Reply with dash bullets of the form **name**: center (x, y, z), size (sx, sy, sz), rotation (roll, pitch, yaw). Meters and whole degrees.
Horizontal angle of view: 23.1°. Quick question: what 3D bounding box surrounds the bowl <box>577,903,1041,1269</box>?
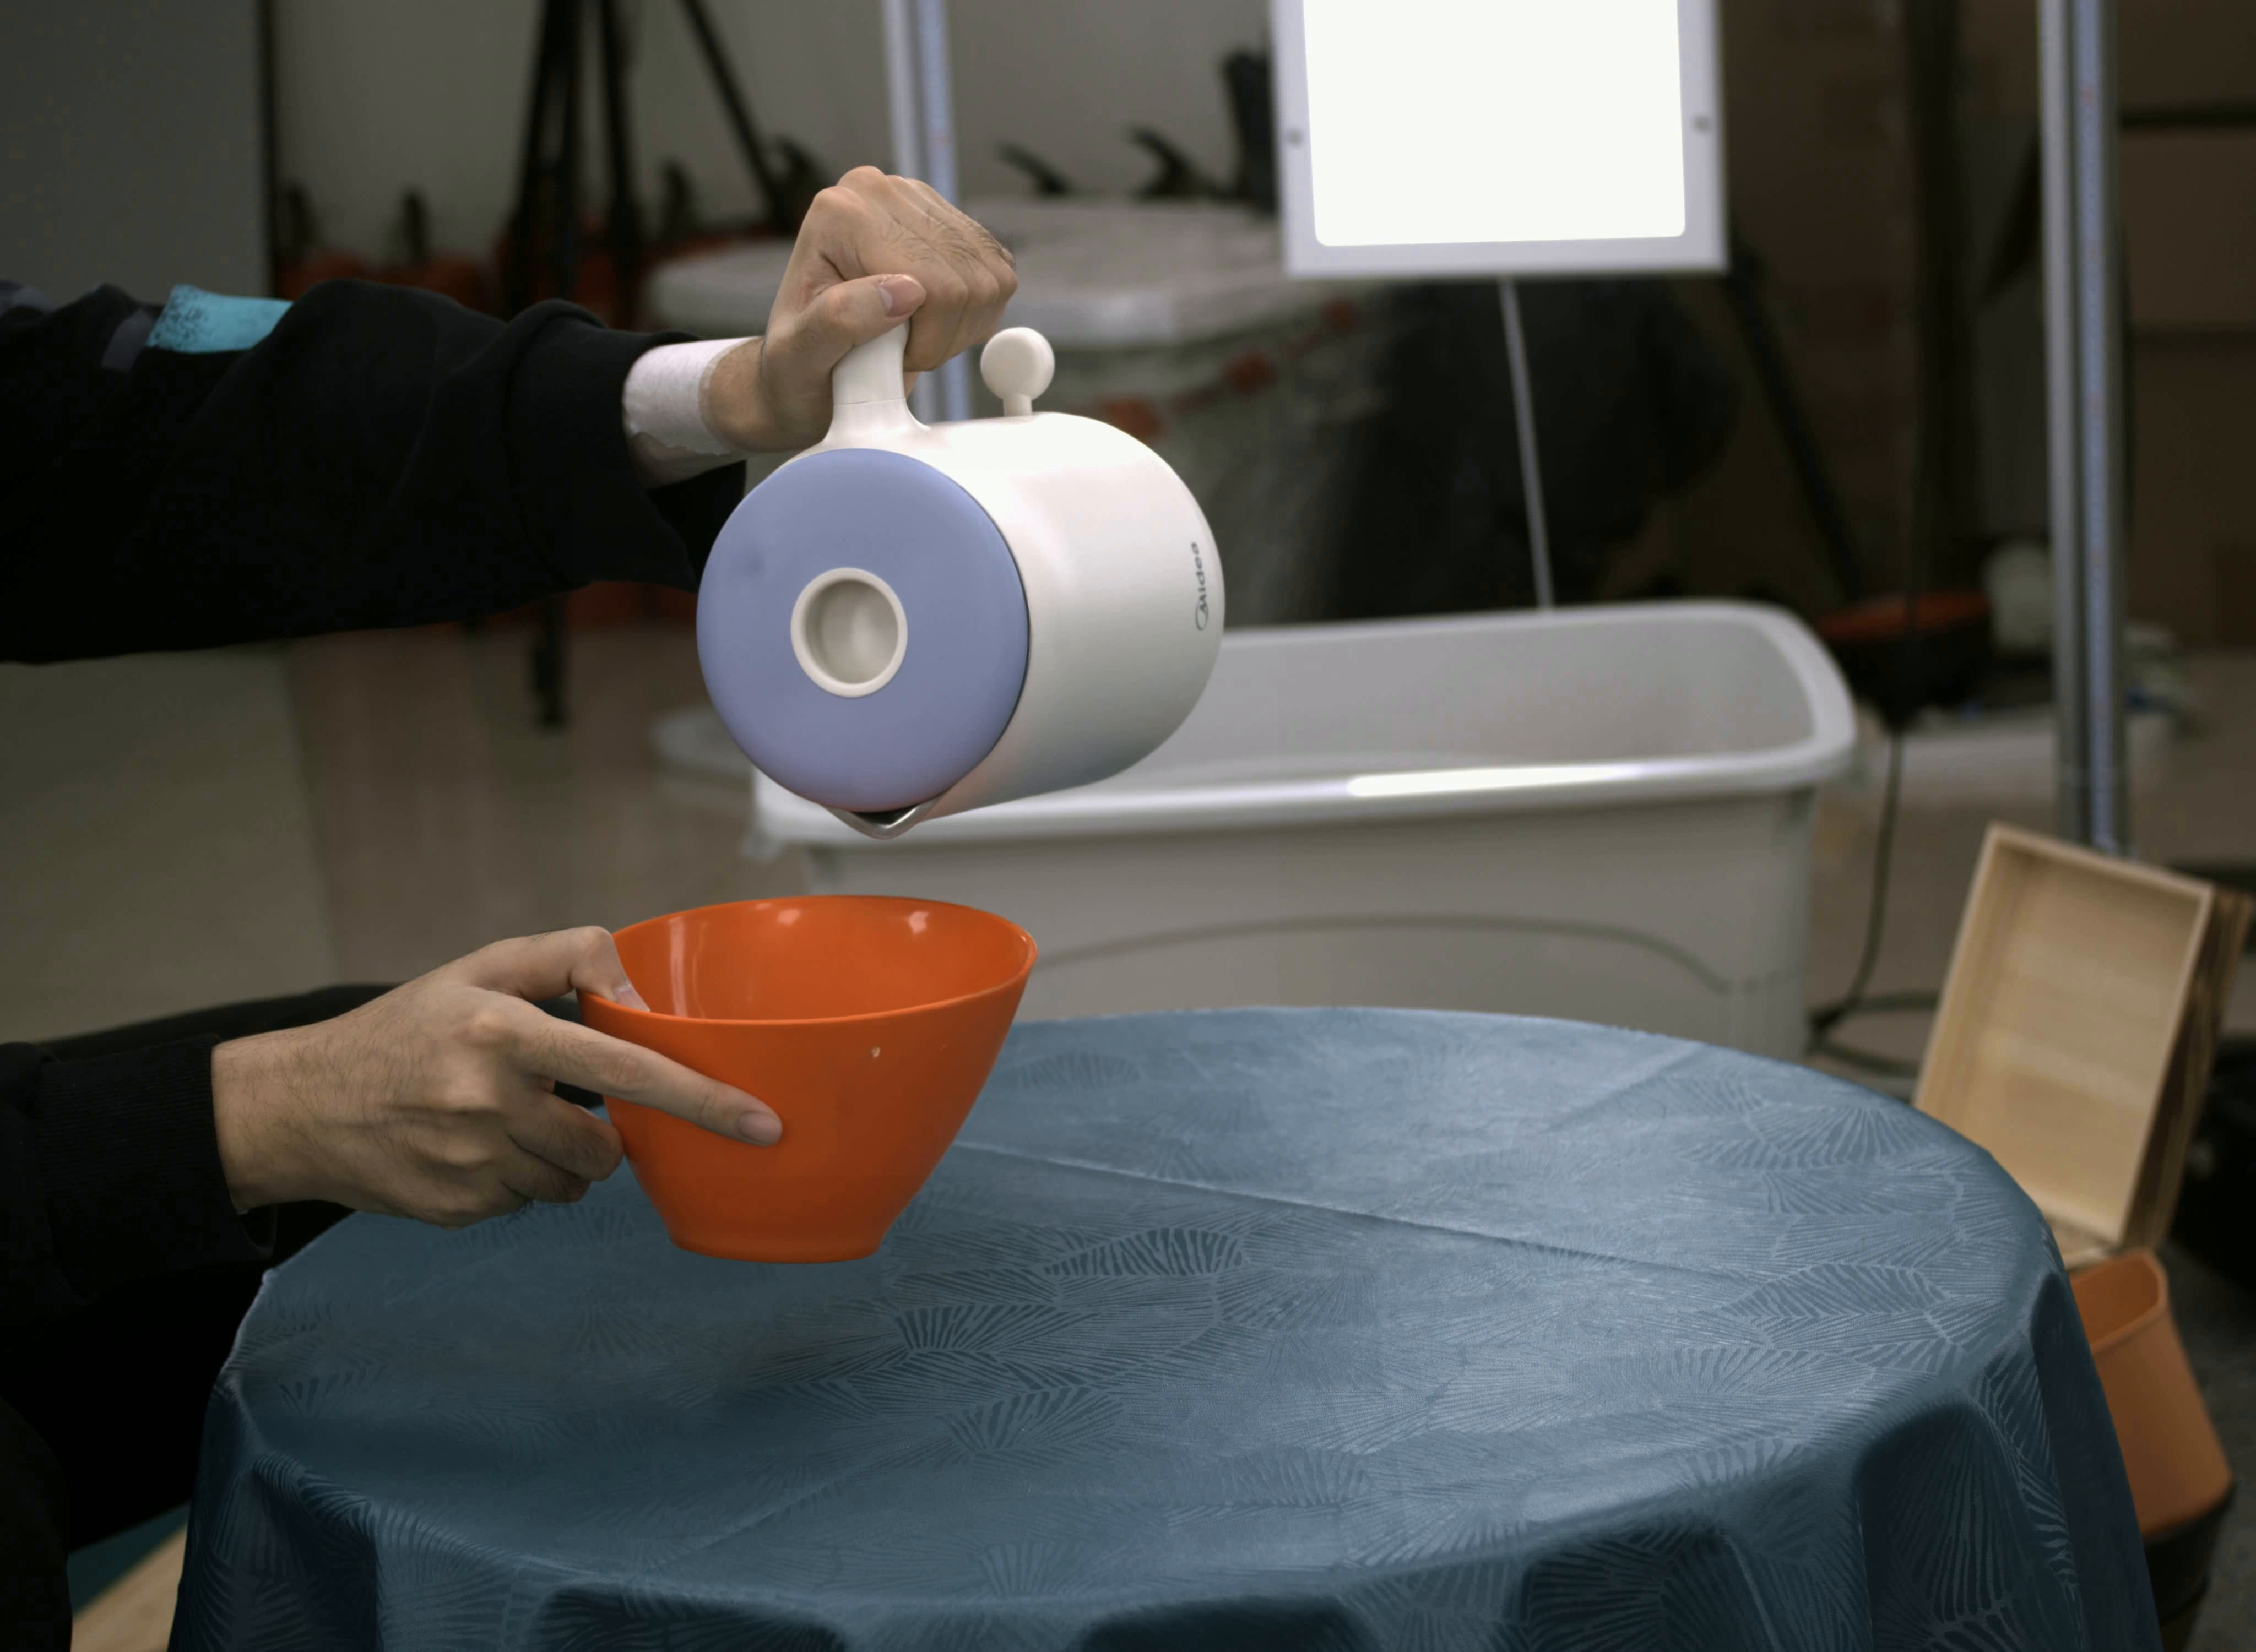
- **bowl**: center (-0.103, 0.083, 1.756), size (0.147, 0.105, 0.148), rotation (2, 6, -2)

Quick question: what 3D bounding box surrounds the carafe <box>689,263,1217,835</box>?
- **carafe**: center (-0.061, -0.096, 1.851), size (0.134, 0.191, 0.179), rotation (-7, 0, 23)
